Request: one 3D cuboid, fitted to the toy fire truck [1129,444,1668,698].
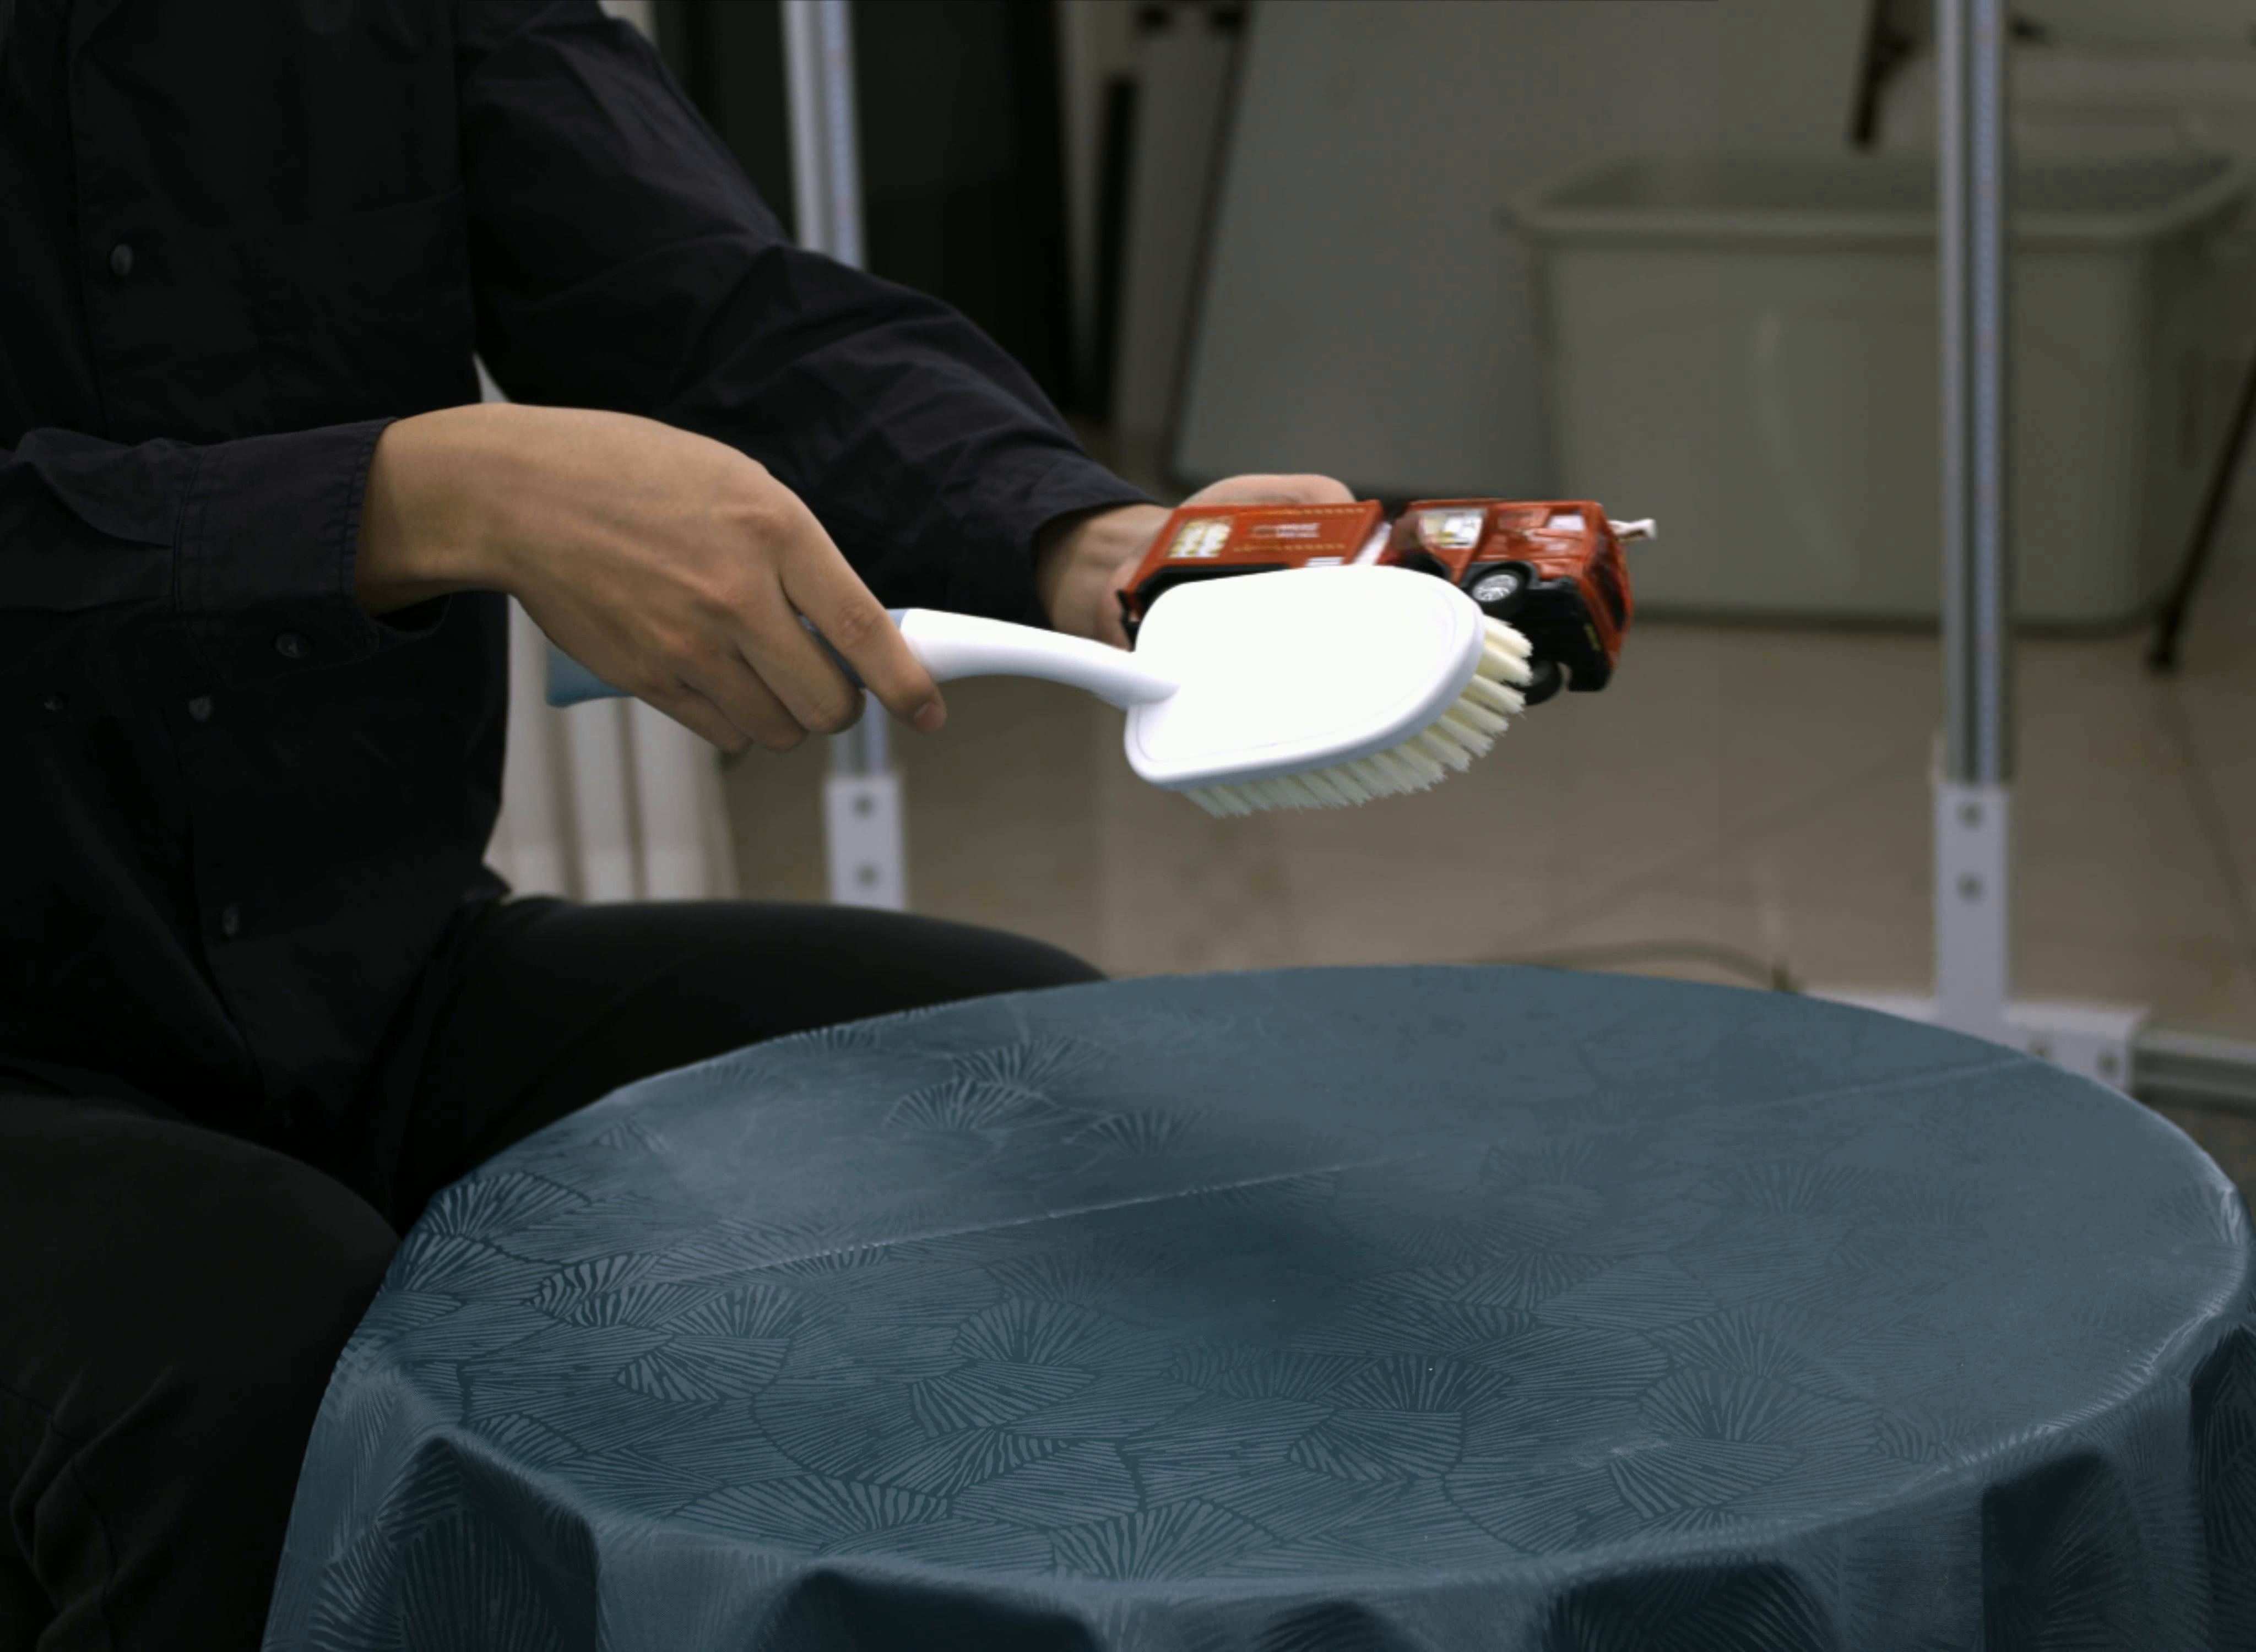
[{"bbox_3d":[0.084,-0.080,1.685,0.168,0.054,0.070,-1,43,31],"label":"toy fire truck"}]

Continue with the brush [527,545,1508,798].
[{"bbox_3d":[-0.033,-0.050,1.686,0.325,0.085,0.083,-2,32,24],"label":"brush"}]
